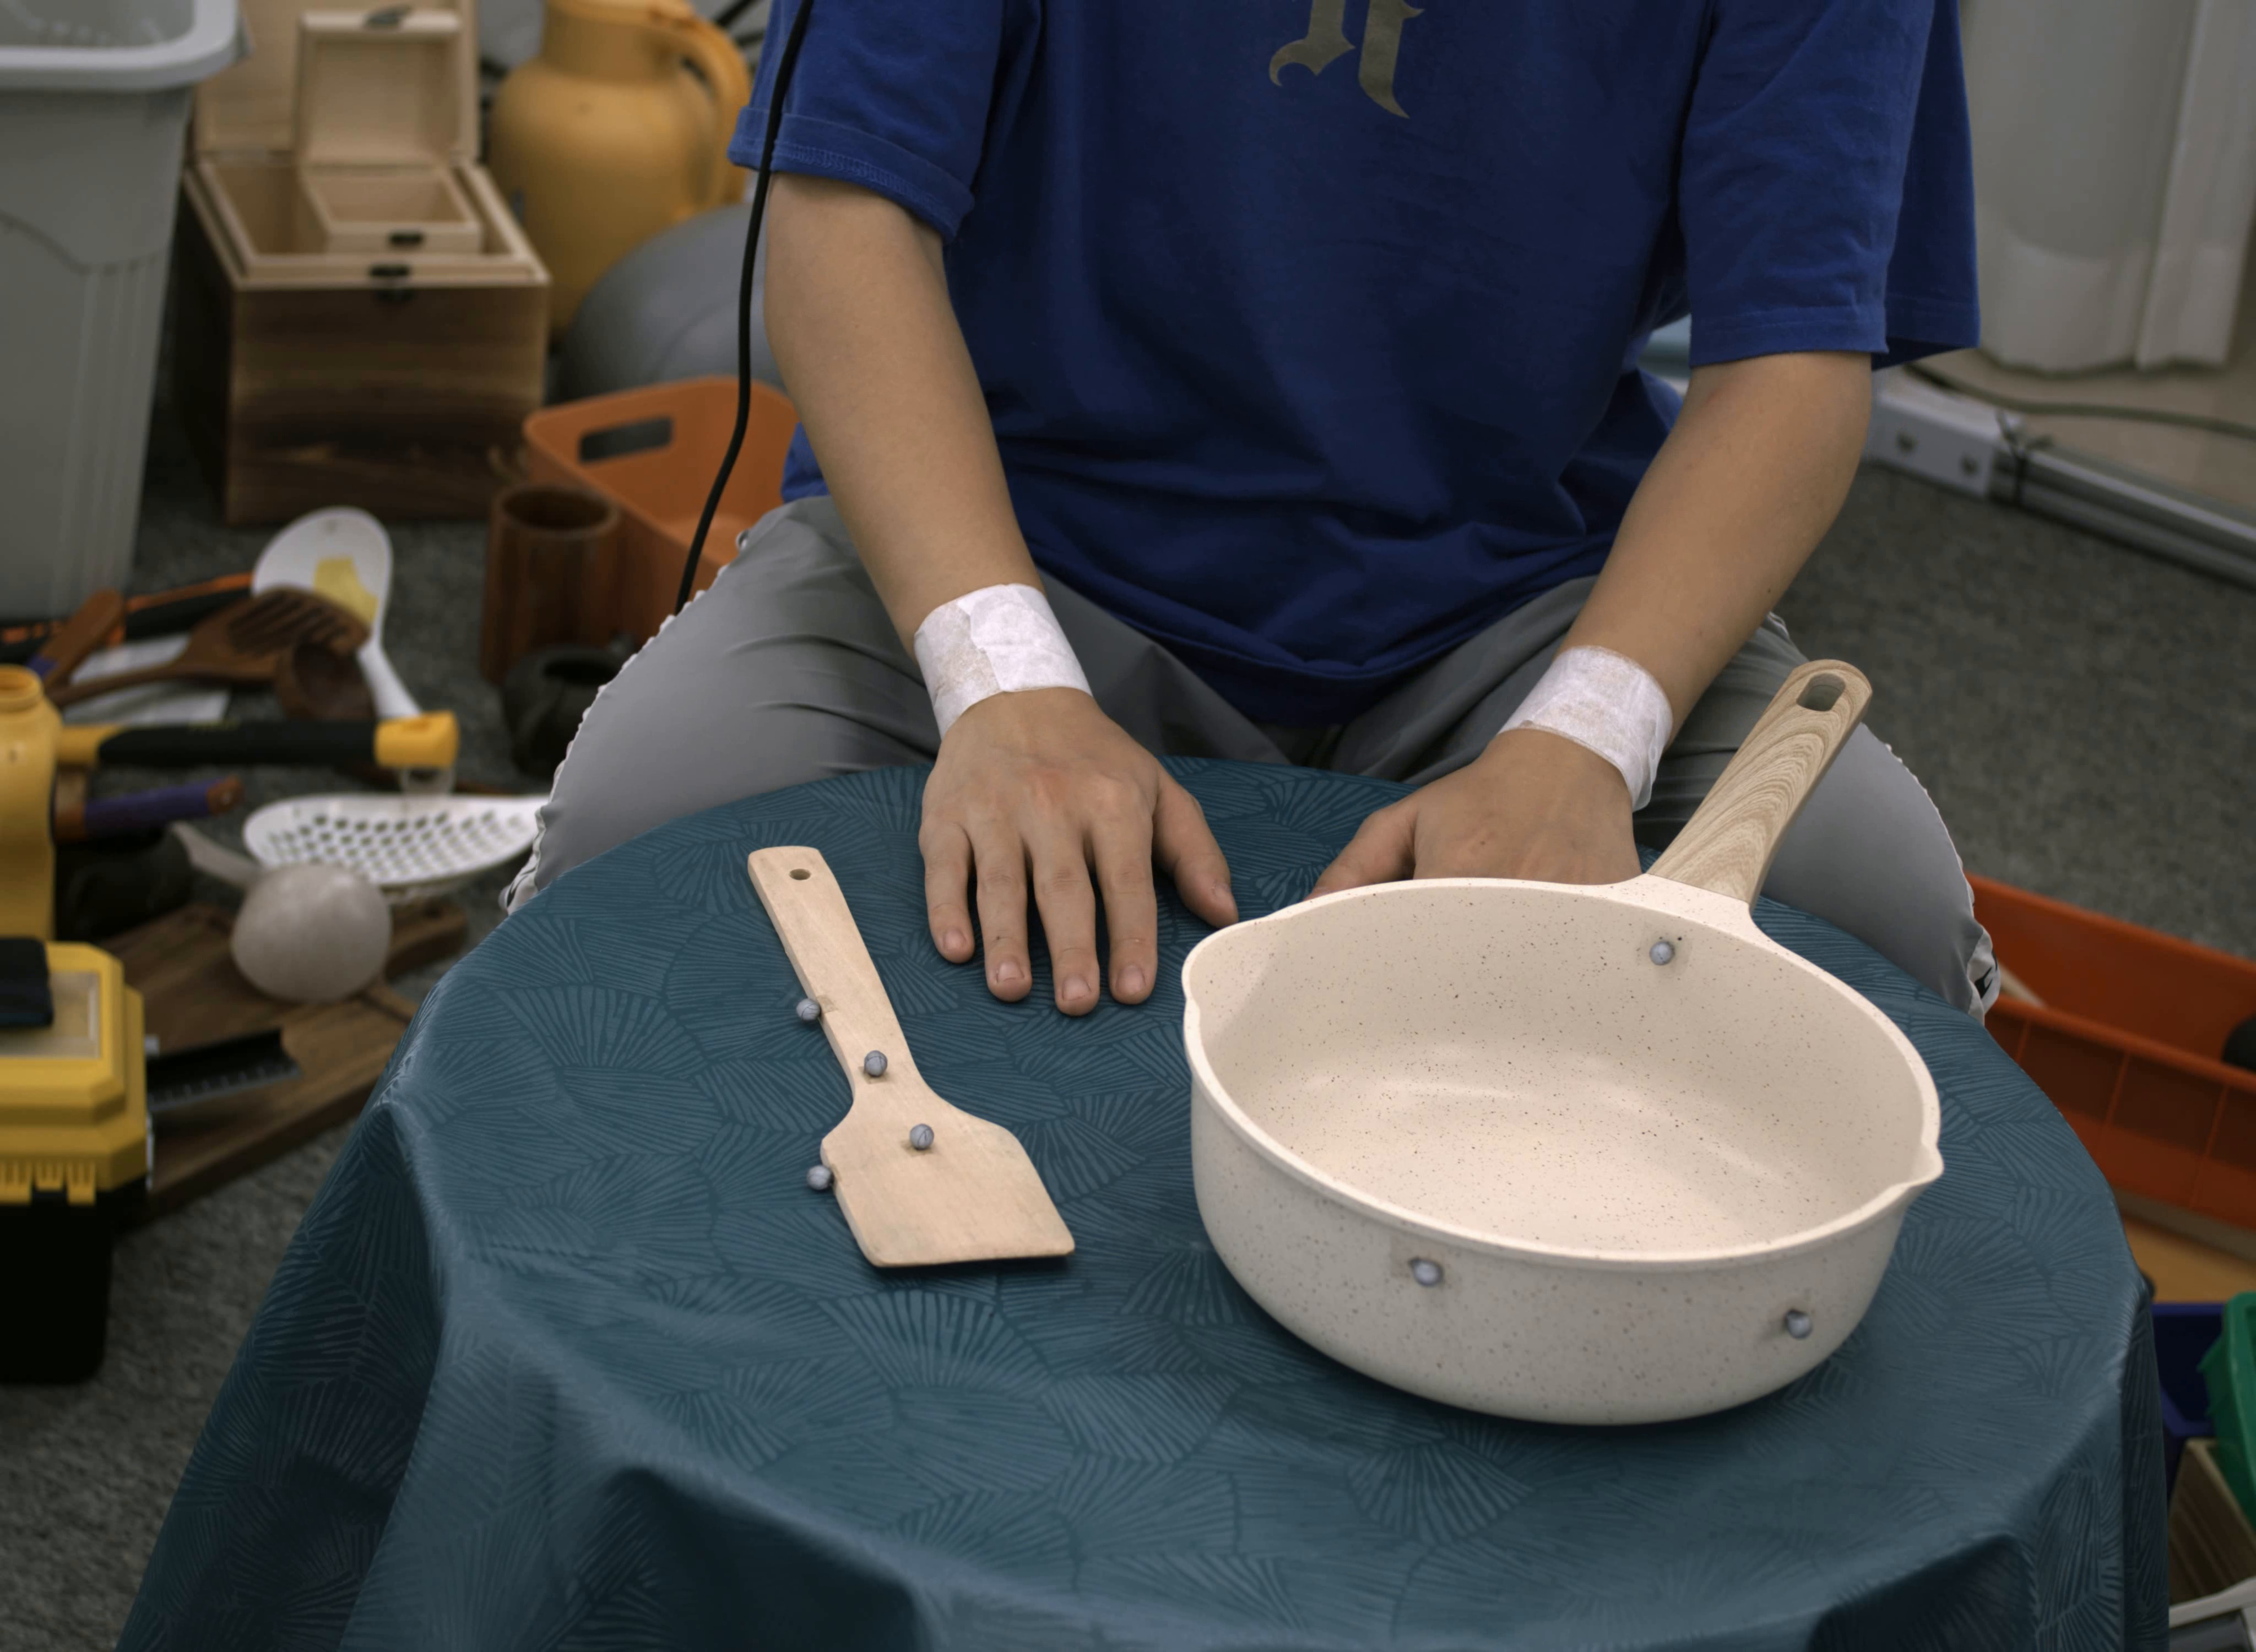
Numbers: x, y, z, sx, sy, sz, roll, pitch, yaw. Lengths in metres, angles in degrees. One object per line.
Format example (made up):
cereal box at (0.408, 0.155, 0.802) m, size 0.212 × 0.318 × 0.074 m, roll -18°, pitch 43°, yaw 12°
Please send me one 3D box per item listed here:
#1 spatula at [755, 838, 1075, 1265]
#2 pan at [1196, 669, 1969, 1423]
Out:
spatula at (-0.090, 0.075, 1.868) m, size 0.072 × 0.010 × 0.295 m, roll -3°, pitch 29°, yaw -16°
pan at (0.180, 0.070, 1.840) m, size 0.264 × 0.101 × 0.435 m, roll 14°, pitch 27°, yaw 18°
